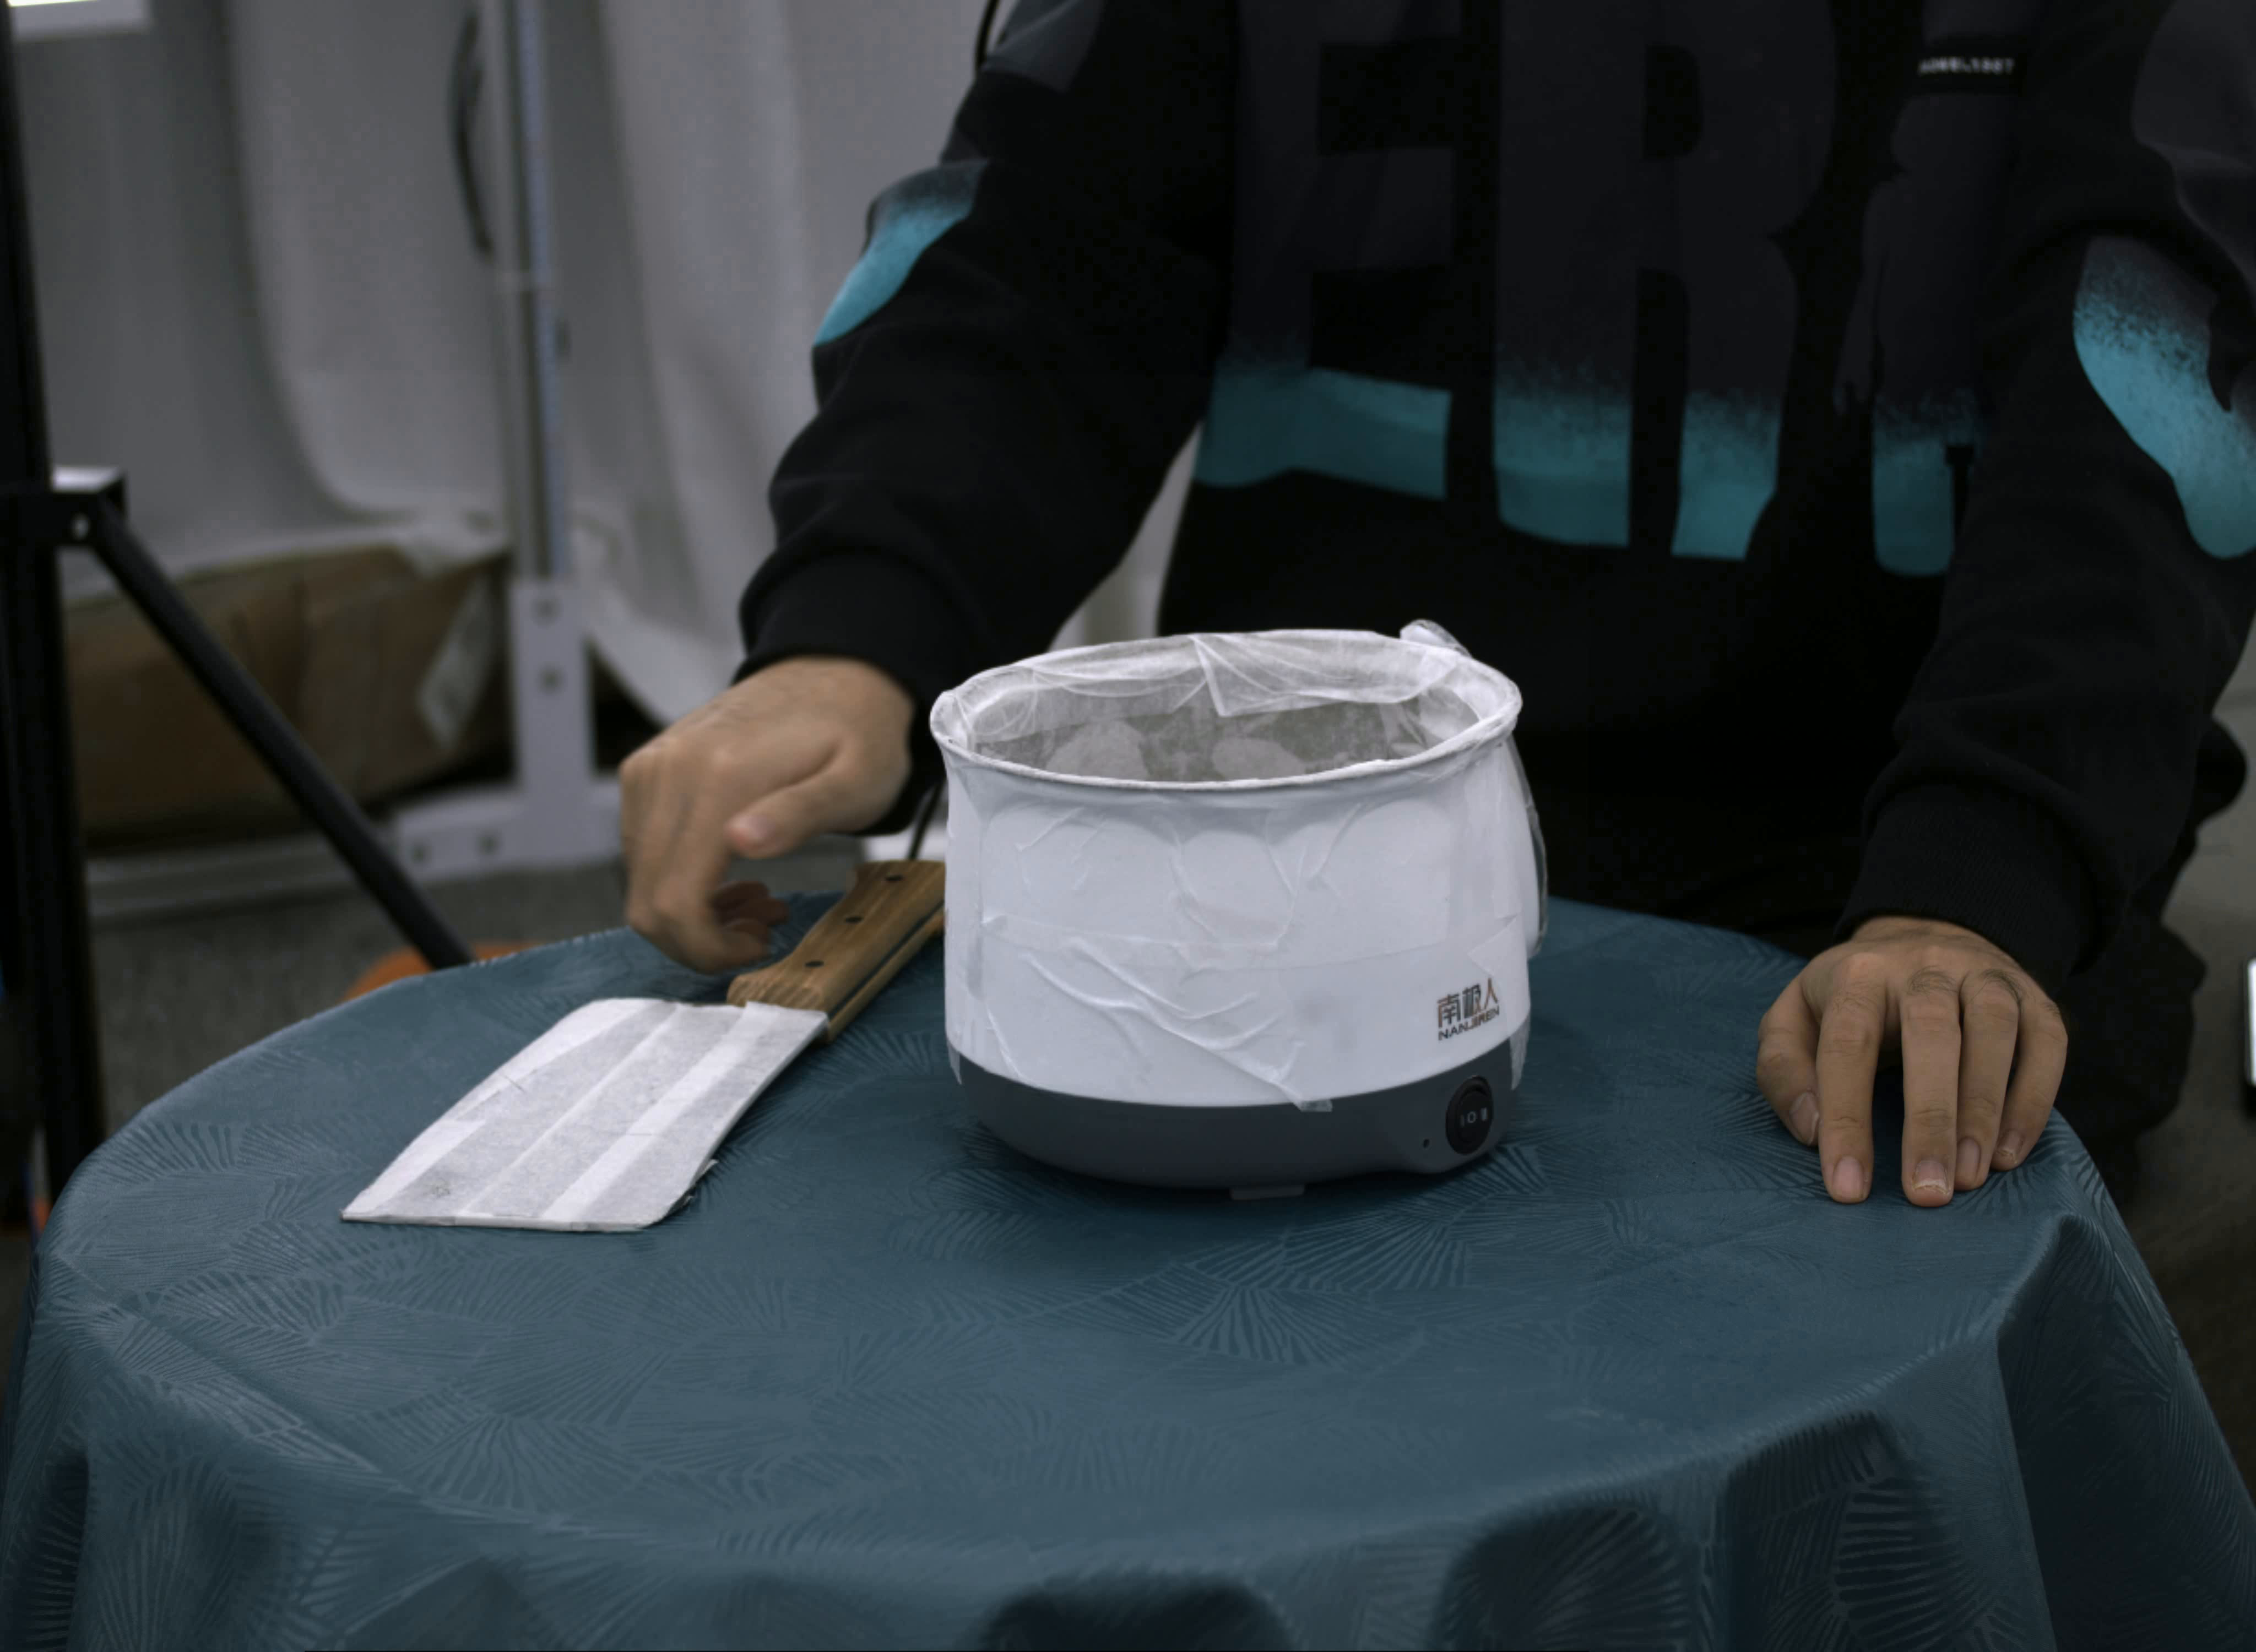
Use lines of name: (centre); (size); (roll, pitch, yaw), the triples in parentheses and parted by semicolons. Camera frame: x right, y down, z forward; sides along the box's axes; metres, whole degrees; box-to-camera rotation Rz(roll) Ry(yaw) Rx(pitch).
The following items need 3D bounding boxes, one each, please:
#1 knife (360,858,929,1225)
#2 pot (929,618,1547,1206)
knife: (-0.134, 0.069, 1.687); (0.115, 0.022, 0.311); (3, 20, 22)
pot: (0.049, 0.019, 1.615); (0.182, 0.136, 0.229); (11, 21, 38)
